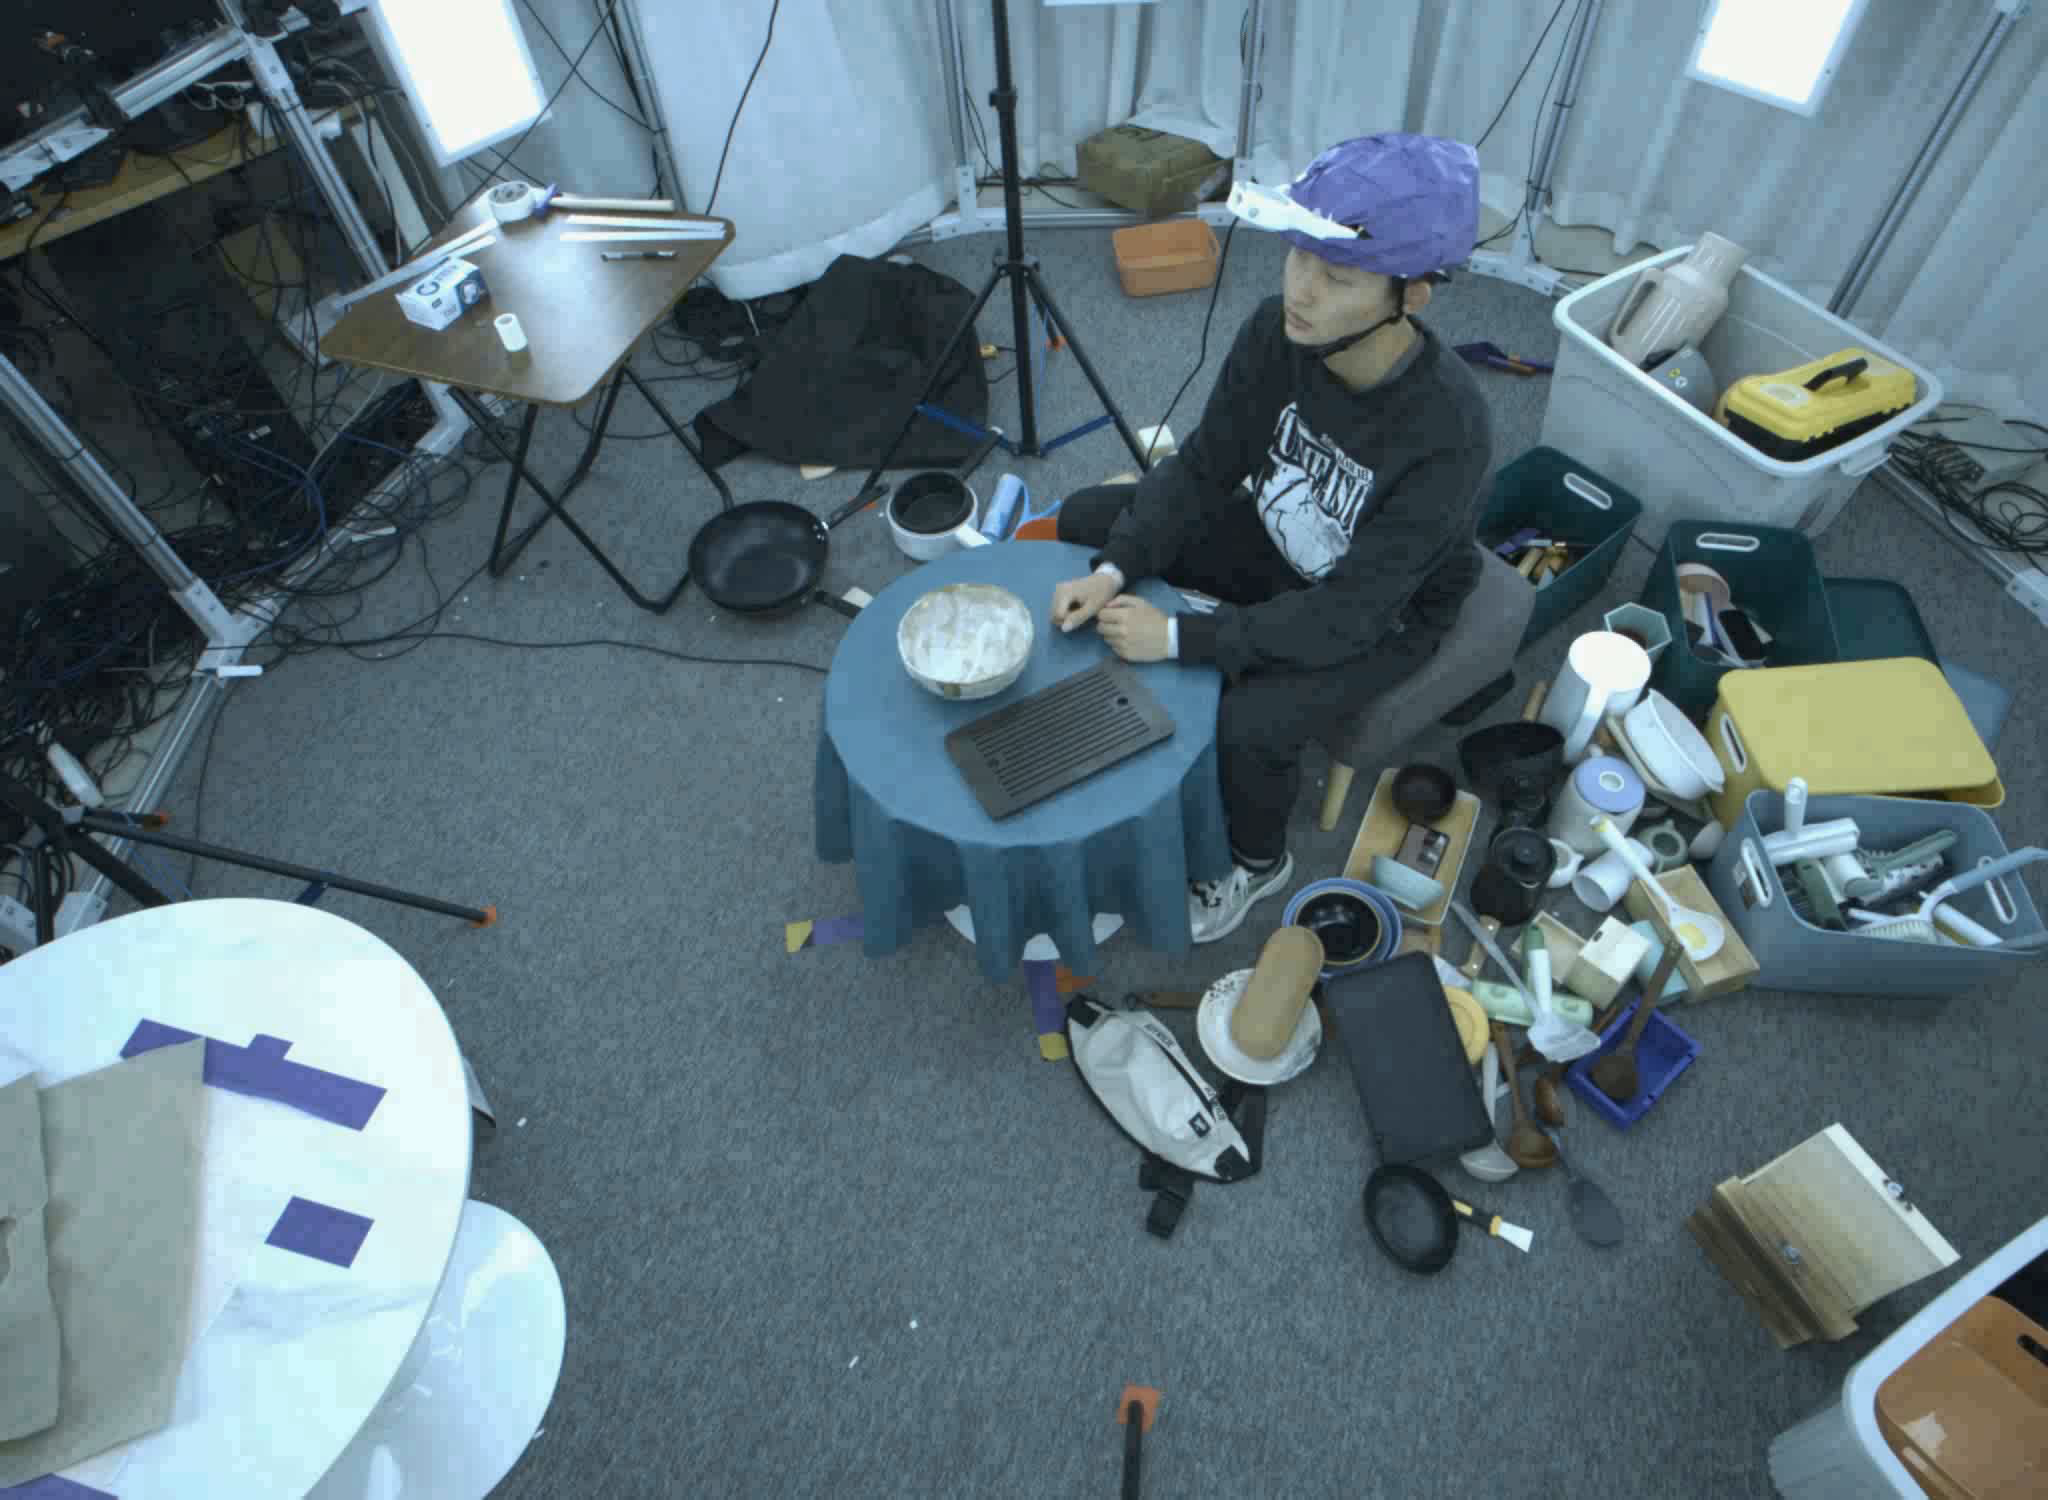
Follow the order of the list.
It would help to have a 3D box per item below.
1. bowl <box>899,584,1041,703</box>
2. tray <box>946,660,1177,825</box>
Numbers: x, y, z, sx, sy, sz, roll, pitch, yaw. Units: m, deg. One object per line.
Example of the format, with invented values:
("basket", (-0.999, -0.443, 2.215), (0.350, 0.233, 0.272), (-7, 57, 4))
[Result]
("bowl", (-0.077, -0.143, 1.843), (0.214, 0.095, 0.212), (-1, 54, 2))
("tray", (0.055, -0.014, 1.795), (0.308, 0.019, 0.167), (-26, 58, -16))
